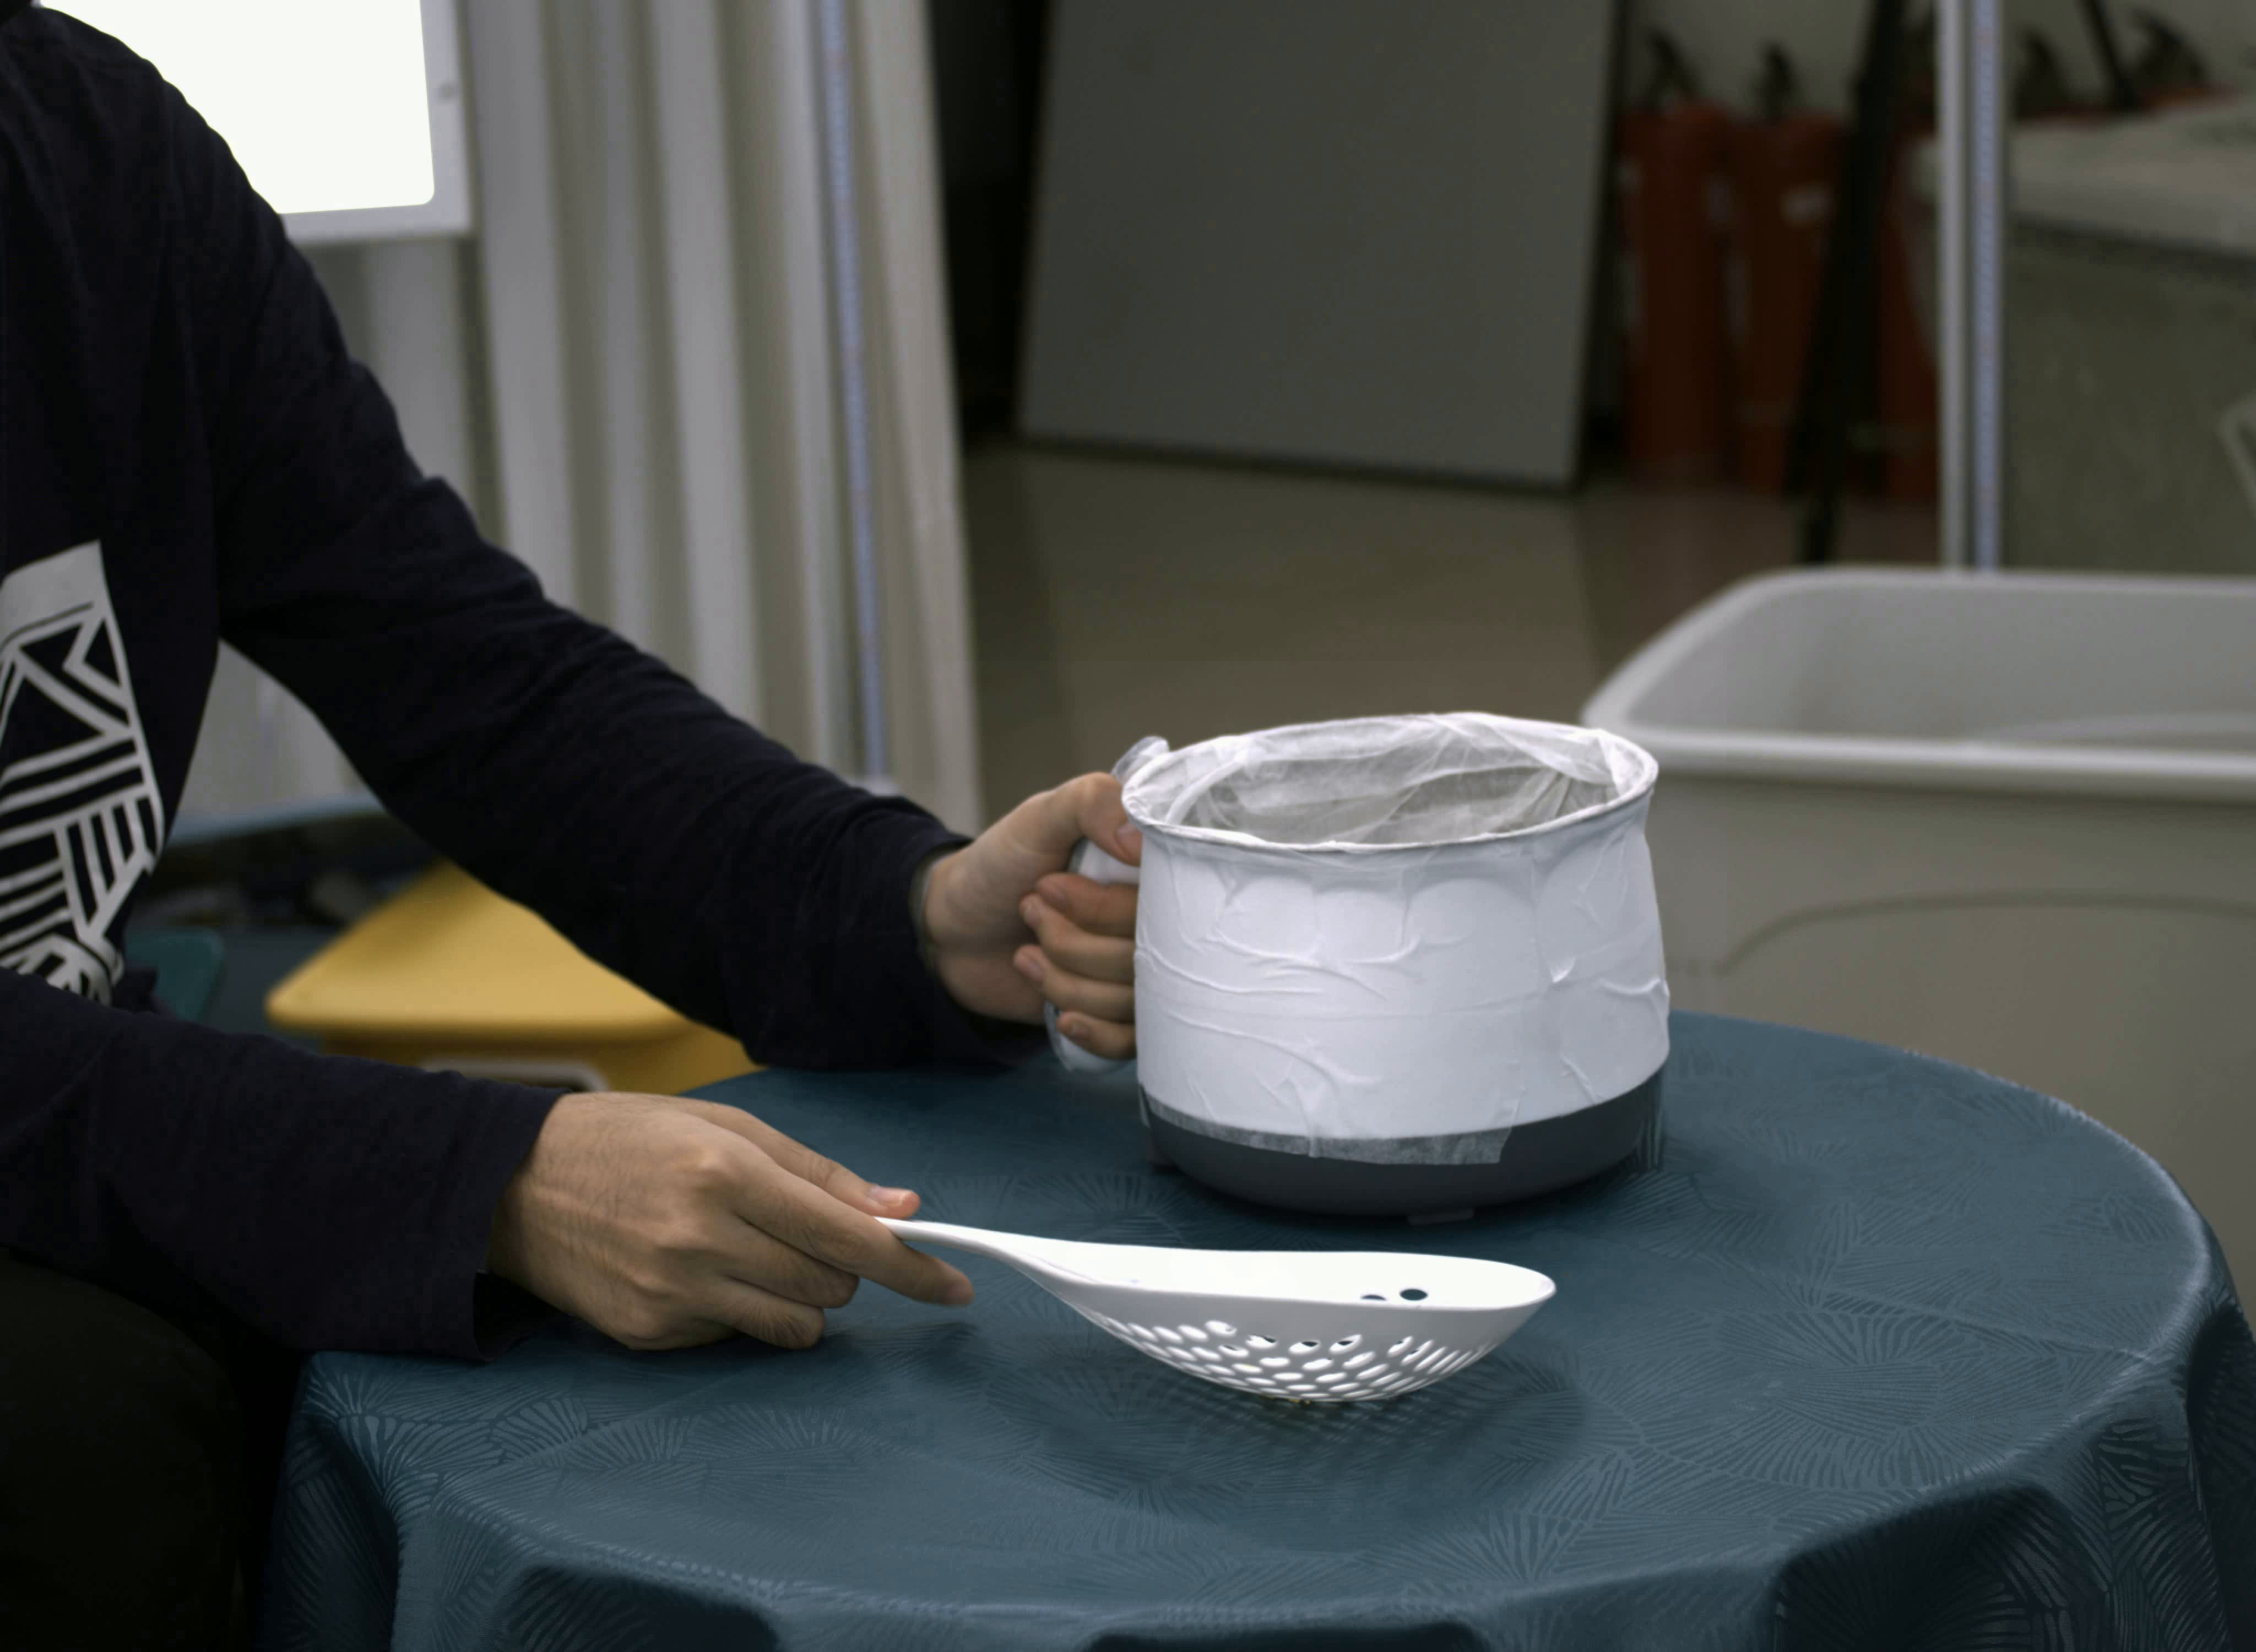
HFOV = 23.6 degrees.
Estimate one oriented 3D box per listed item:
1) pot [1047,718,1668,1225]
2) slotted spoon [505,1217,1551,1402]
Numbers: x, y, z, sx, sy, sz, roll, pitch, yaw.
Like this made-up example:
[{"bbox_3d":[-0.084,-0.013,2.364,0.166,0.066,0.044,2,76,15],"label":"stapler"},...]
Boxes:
[{"bbox_3d":[0.068,0.043,1.787,0.235,0.138,0.175,7,15,37],"label":"pot"},{"bbox_3d":[-0.039,0.134,1.616,0.349,0.051,0.134,7,4,31],"label":"slotted spoon"}]
